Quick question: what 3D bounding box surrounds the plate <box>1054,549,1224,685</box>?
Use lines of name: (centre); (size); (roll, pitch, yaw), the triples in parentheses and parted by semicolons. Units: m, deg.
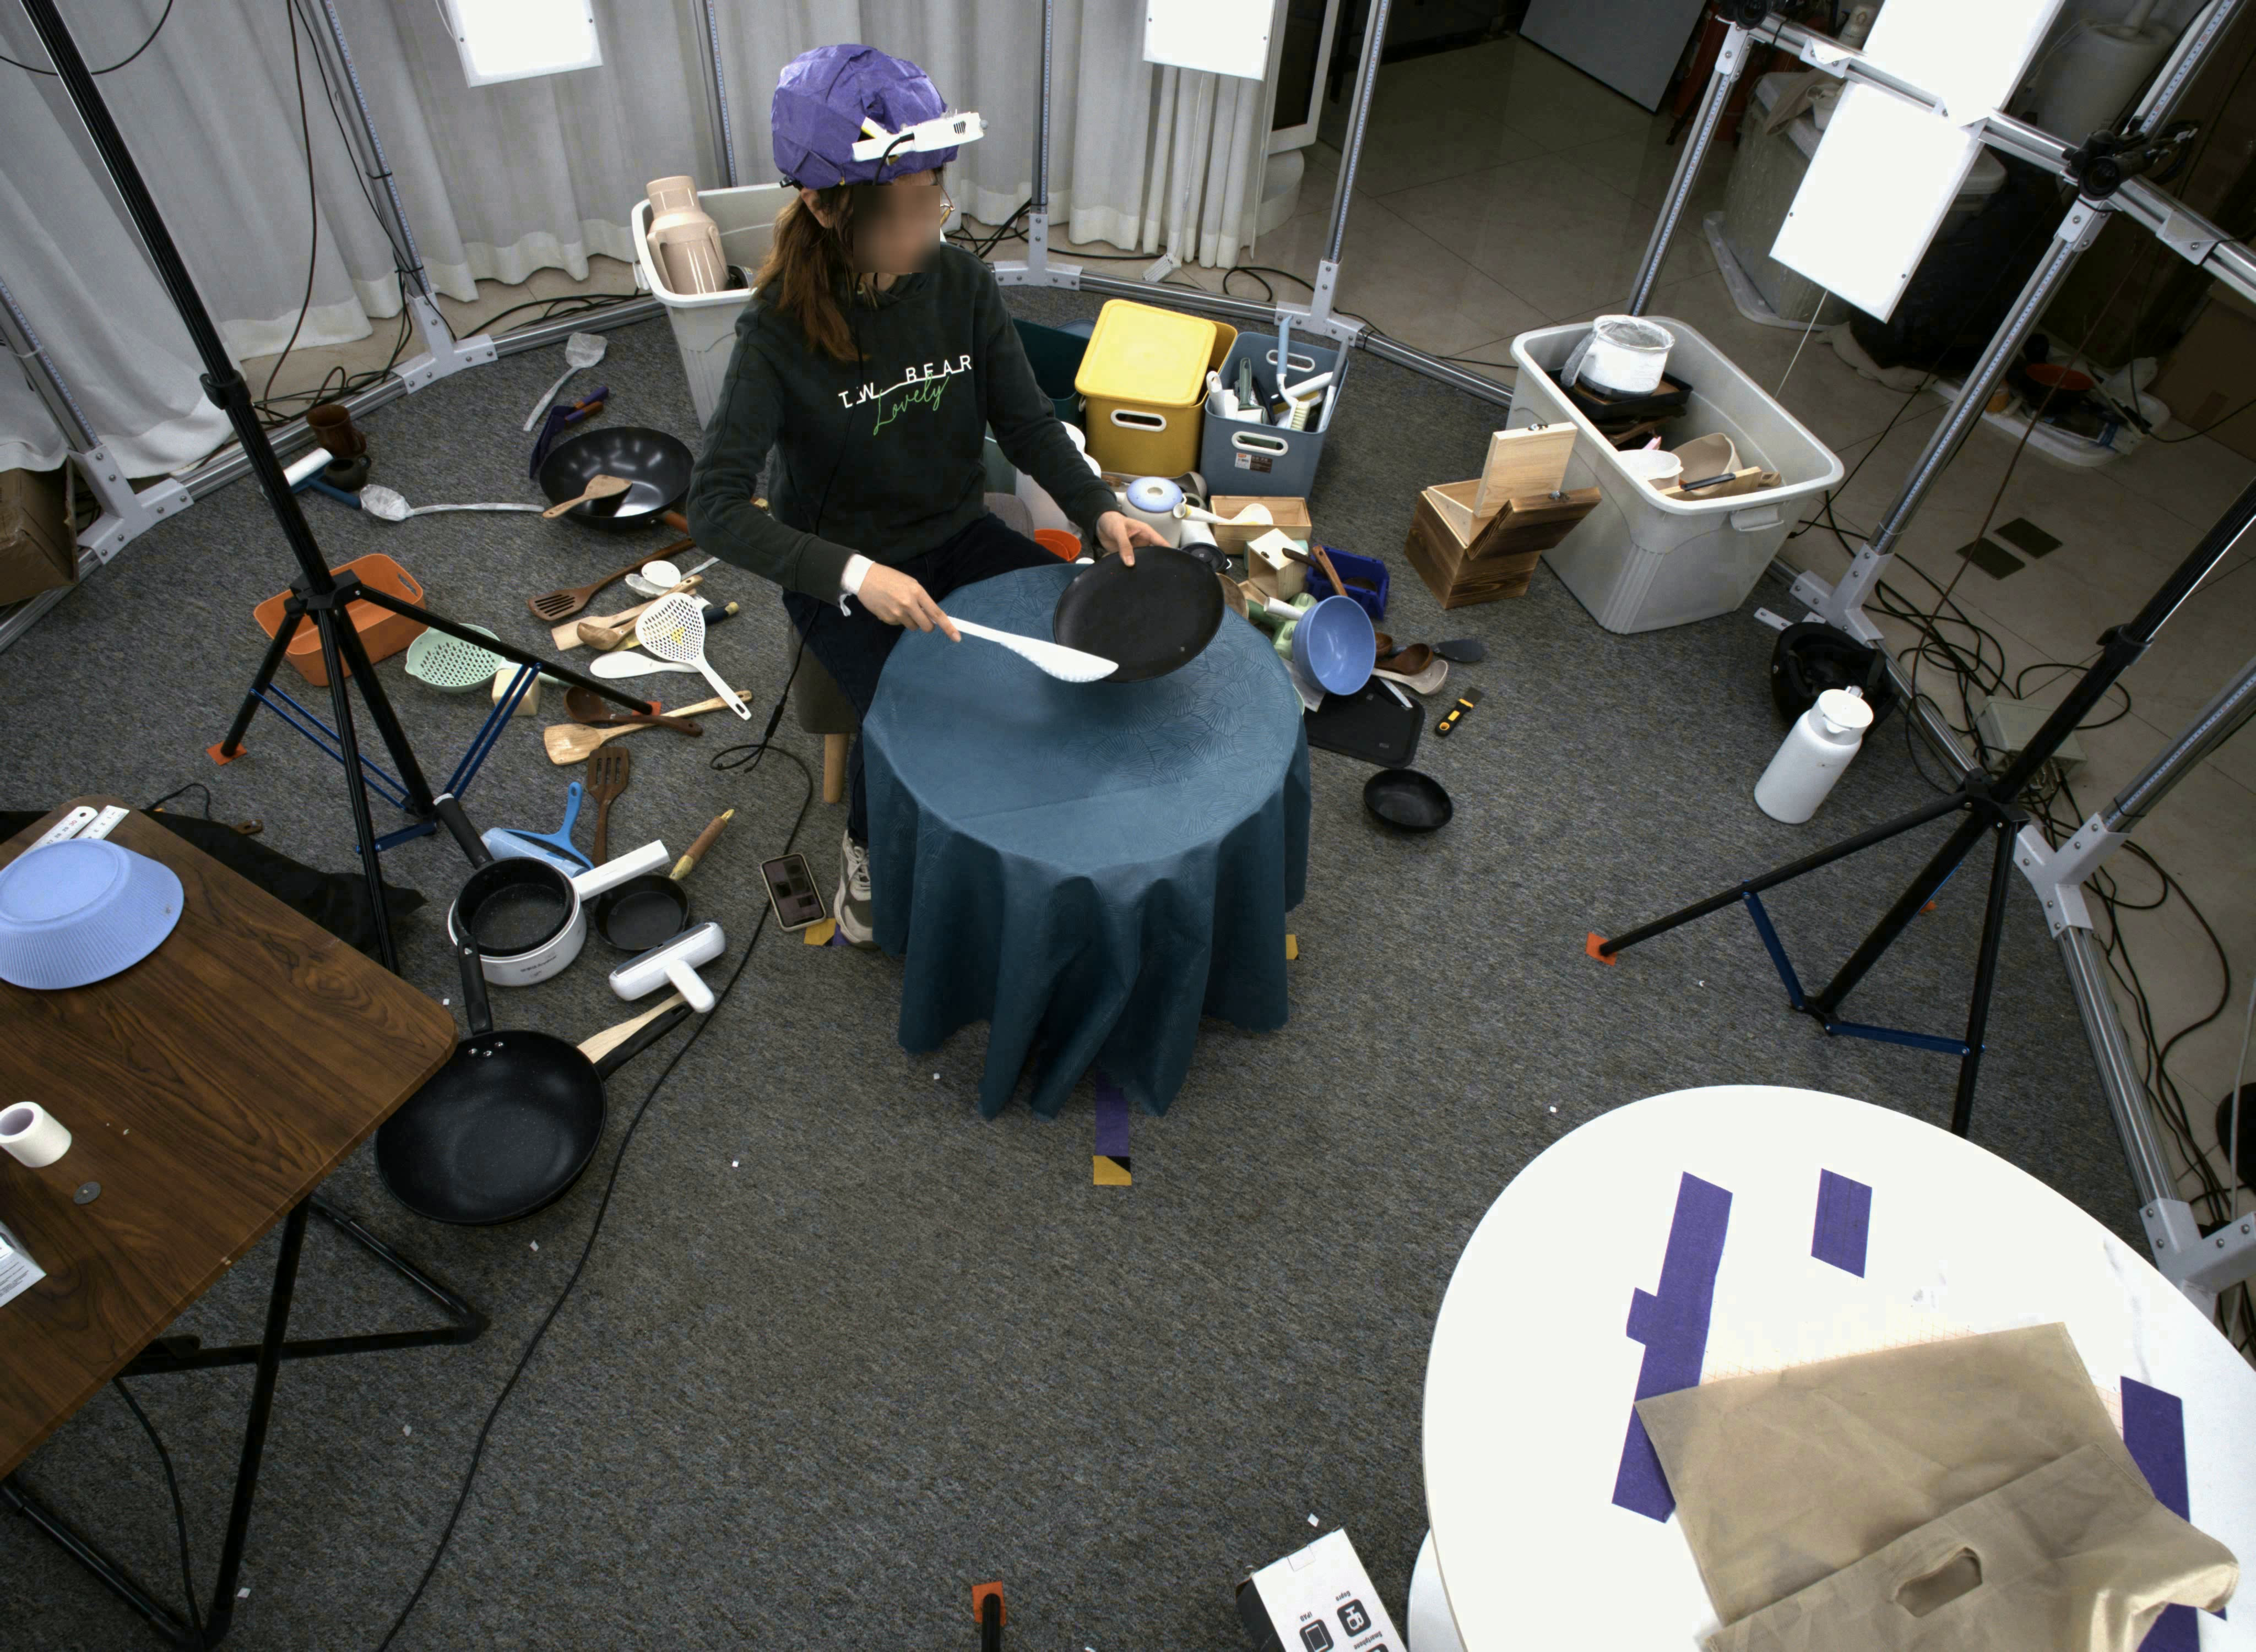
plate: (0.017, -0.292, 1.807); (0.244, 0.023, 0.250); (-7, 56, 10)

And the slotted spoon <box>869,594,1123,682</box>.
slotted spoon: (-0.178, -0.256, 1.718); (0.350, 0.136, 0.045); (21, 93, 5)
